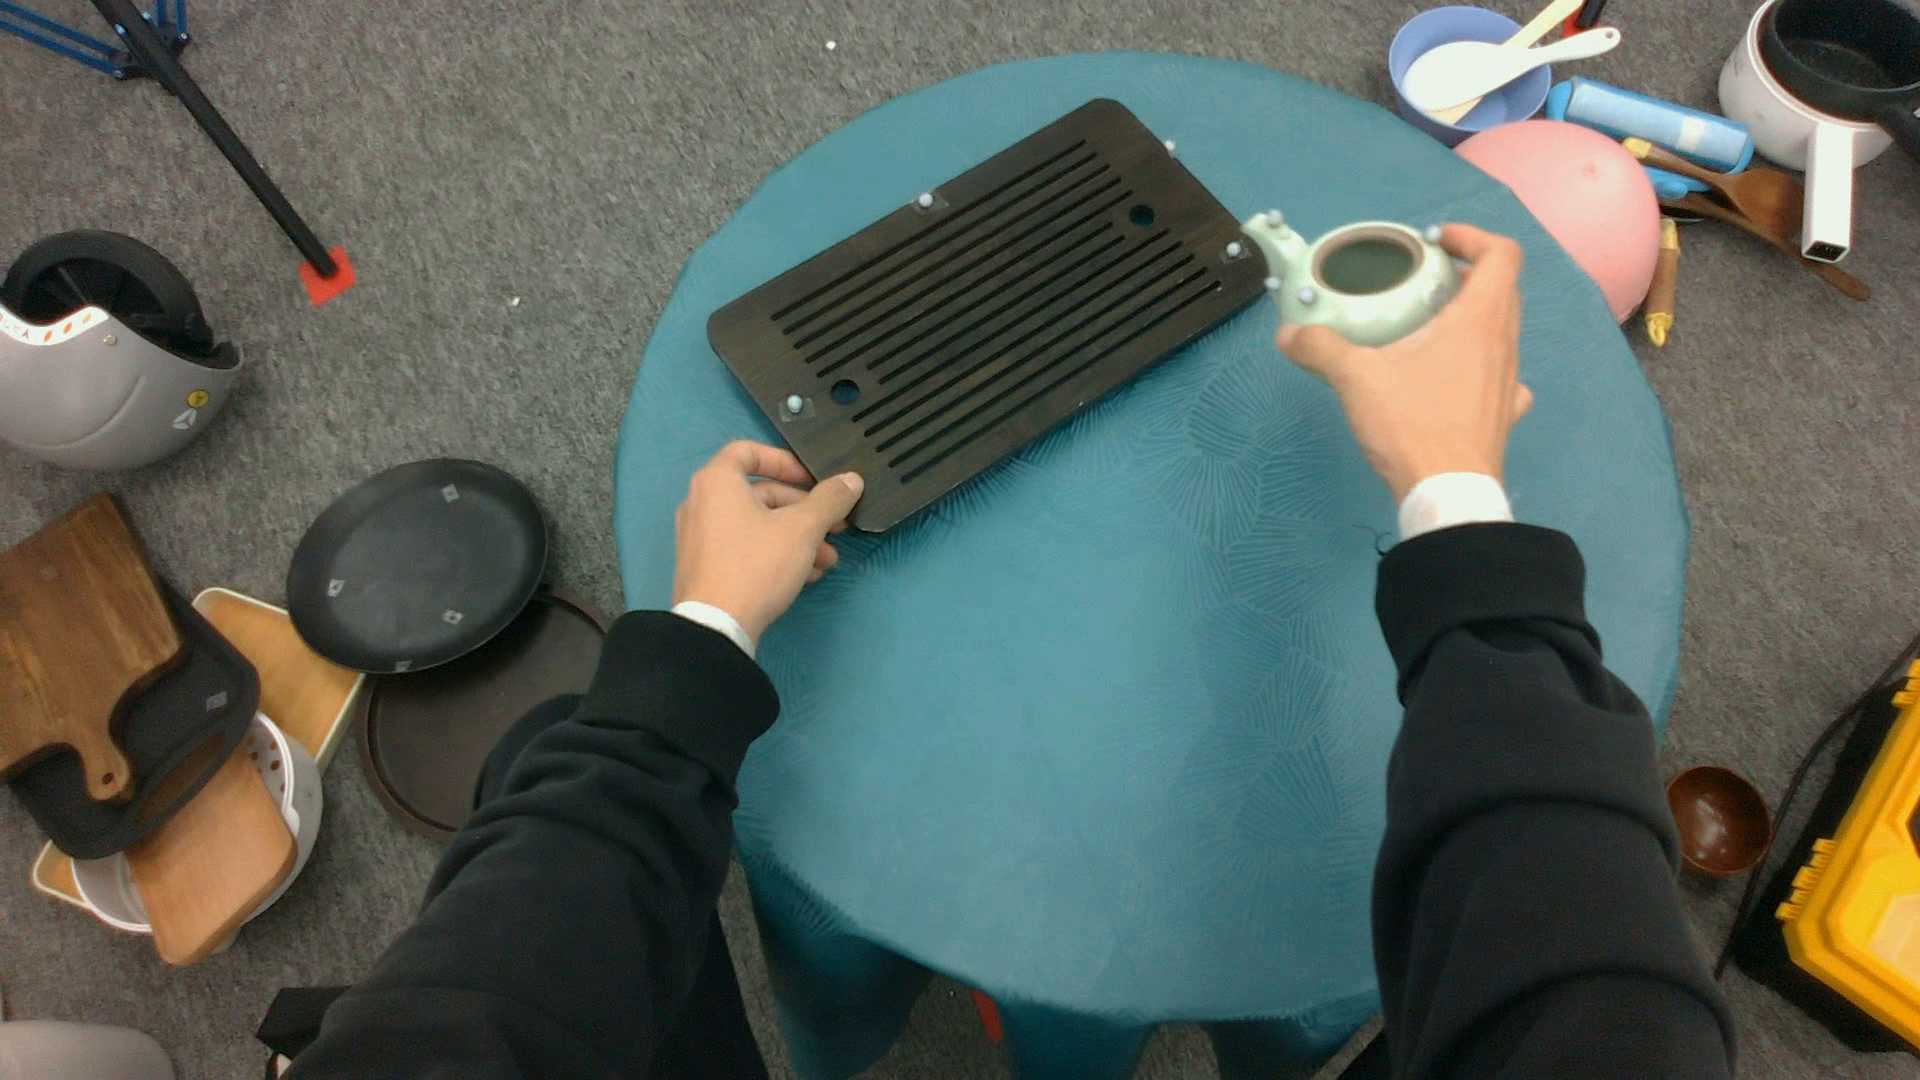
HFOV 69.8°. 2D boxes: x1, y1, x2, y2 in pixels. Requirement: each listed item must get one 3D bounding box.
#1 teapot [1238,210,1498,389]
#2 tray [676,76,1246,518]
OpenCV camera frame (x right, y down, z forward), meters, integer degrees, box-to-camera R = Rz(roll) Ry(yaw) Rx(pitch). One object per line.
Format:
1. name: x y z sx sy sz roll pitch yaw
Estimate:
1. teapot: 0.204 -0.120 0.700 0.088 0.074 0.144 -43 49 -19
2. tray: 0.004 -0.150 0.802 0.307 0.018 0.170 -34 72 -17
